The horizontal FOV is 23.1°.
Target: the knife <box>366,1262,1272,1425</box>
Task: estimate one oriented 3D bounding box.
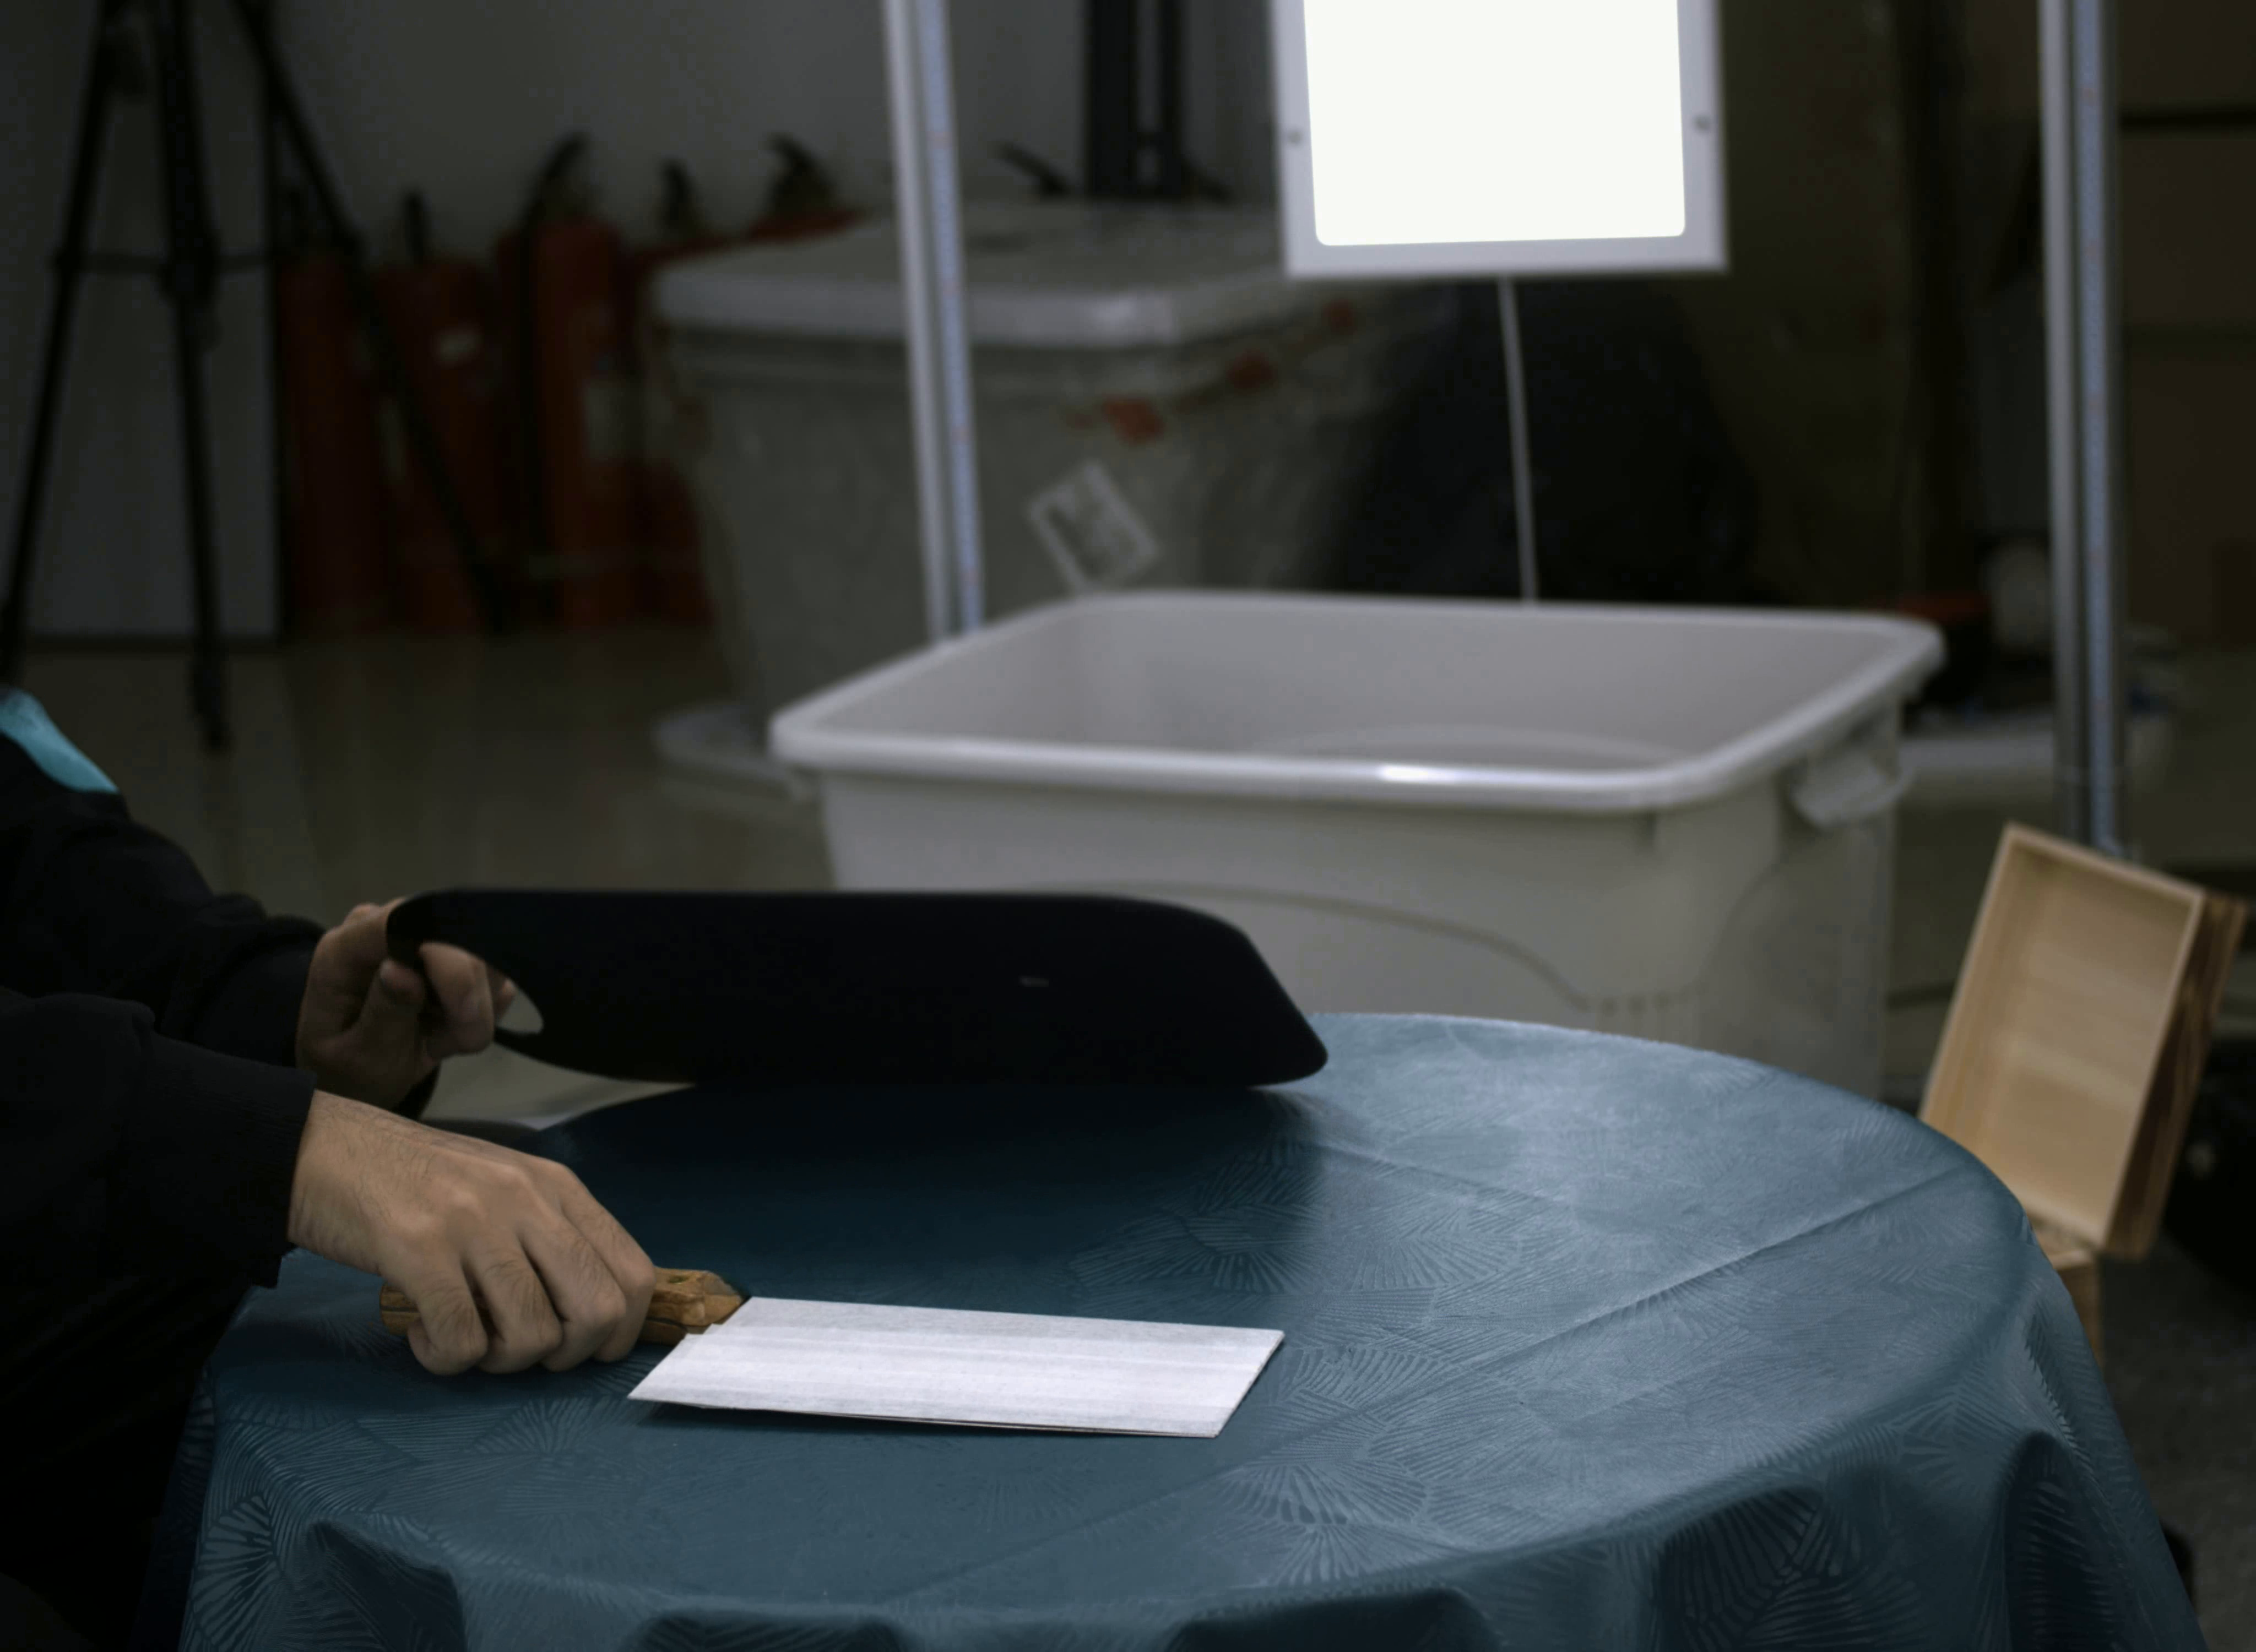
[{"bbox_3d":[-0.107,0.166,1.743,0.309,0.021,0.091,2,17,18],"label":"knife"}]

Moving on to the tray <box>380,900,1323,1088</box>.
[{"bbox_3d":[-0.103,0.059,1.950,0.329,0.010,0.209,0,-19,18],"label":"tray"}]
